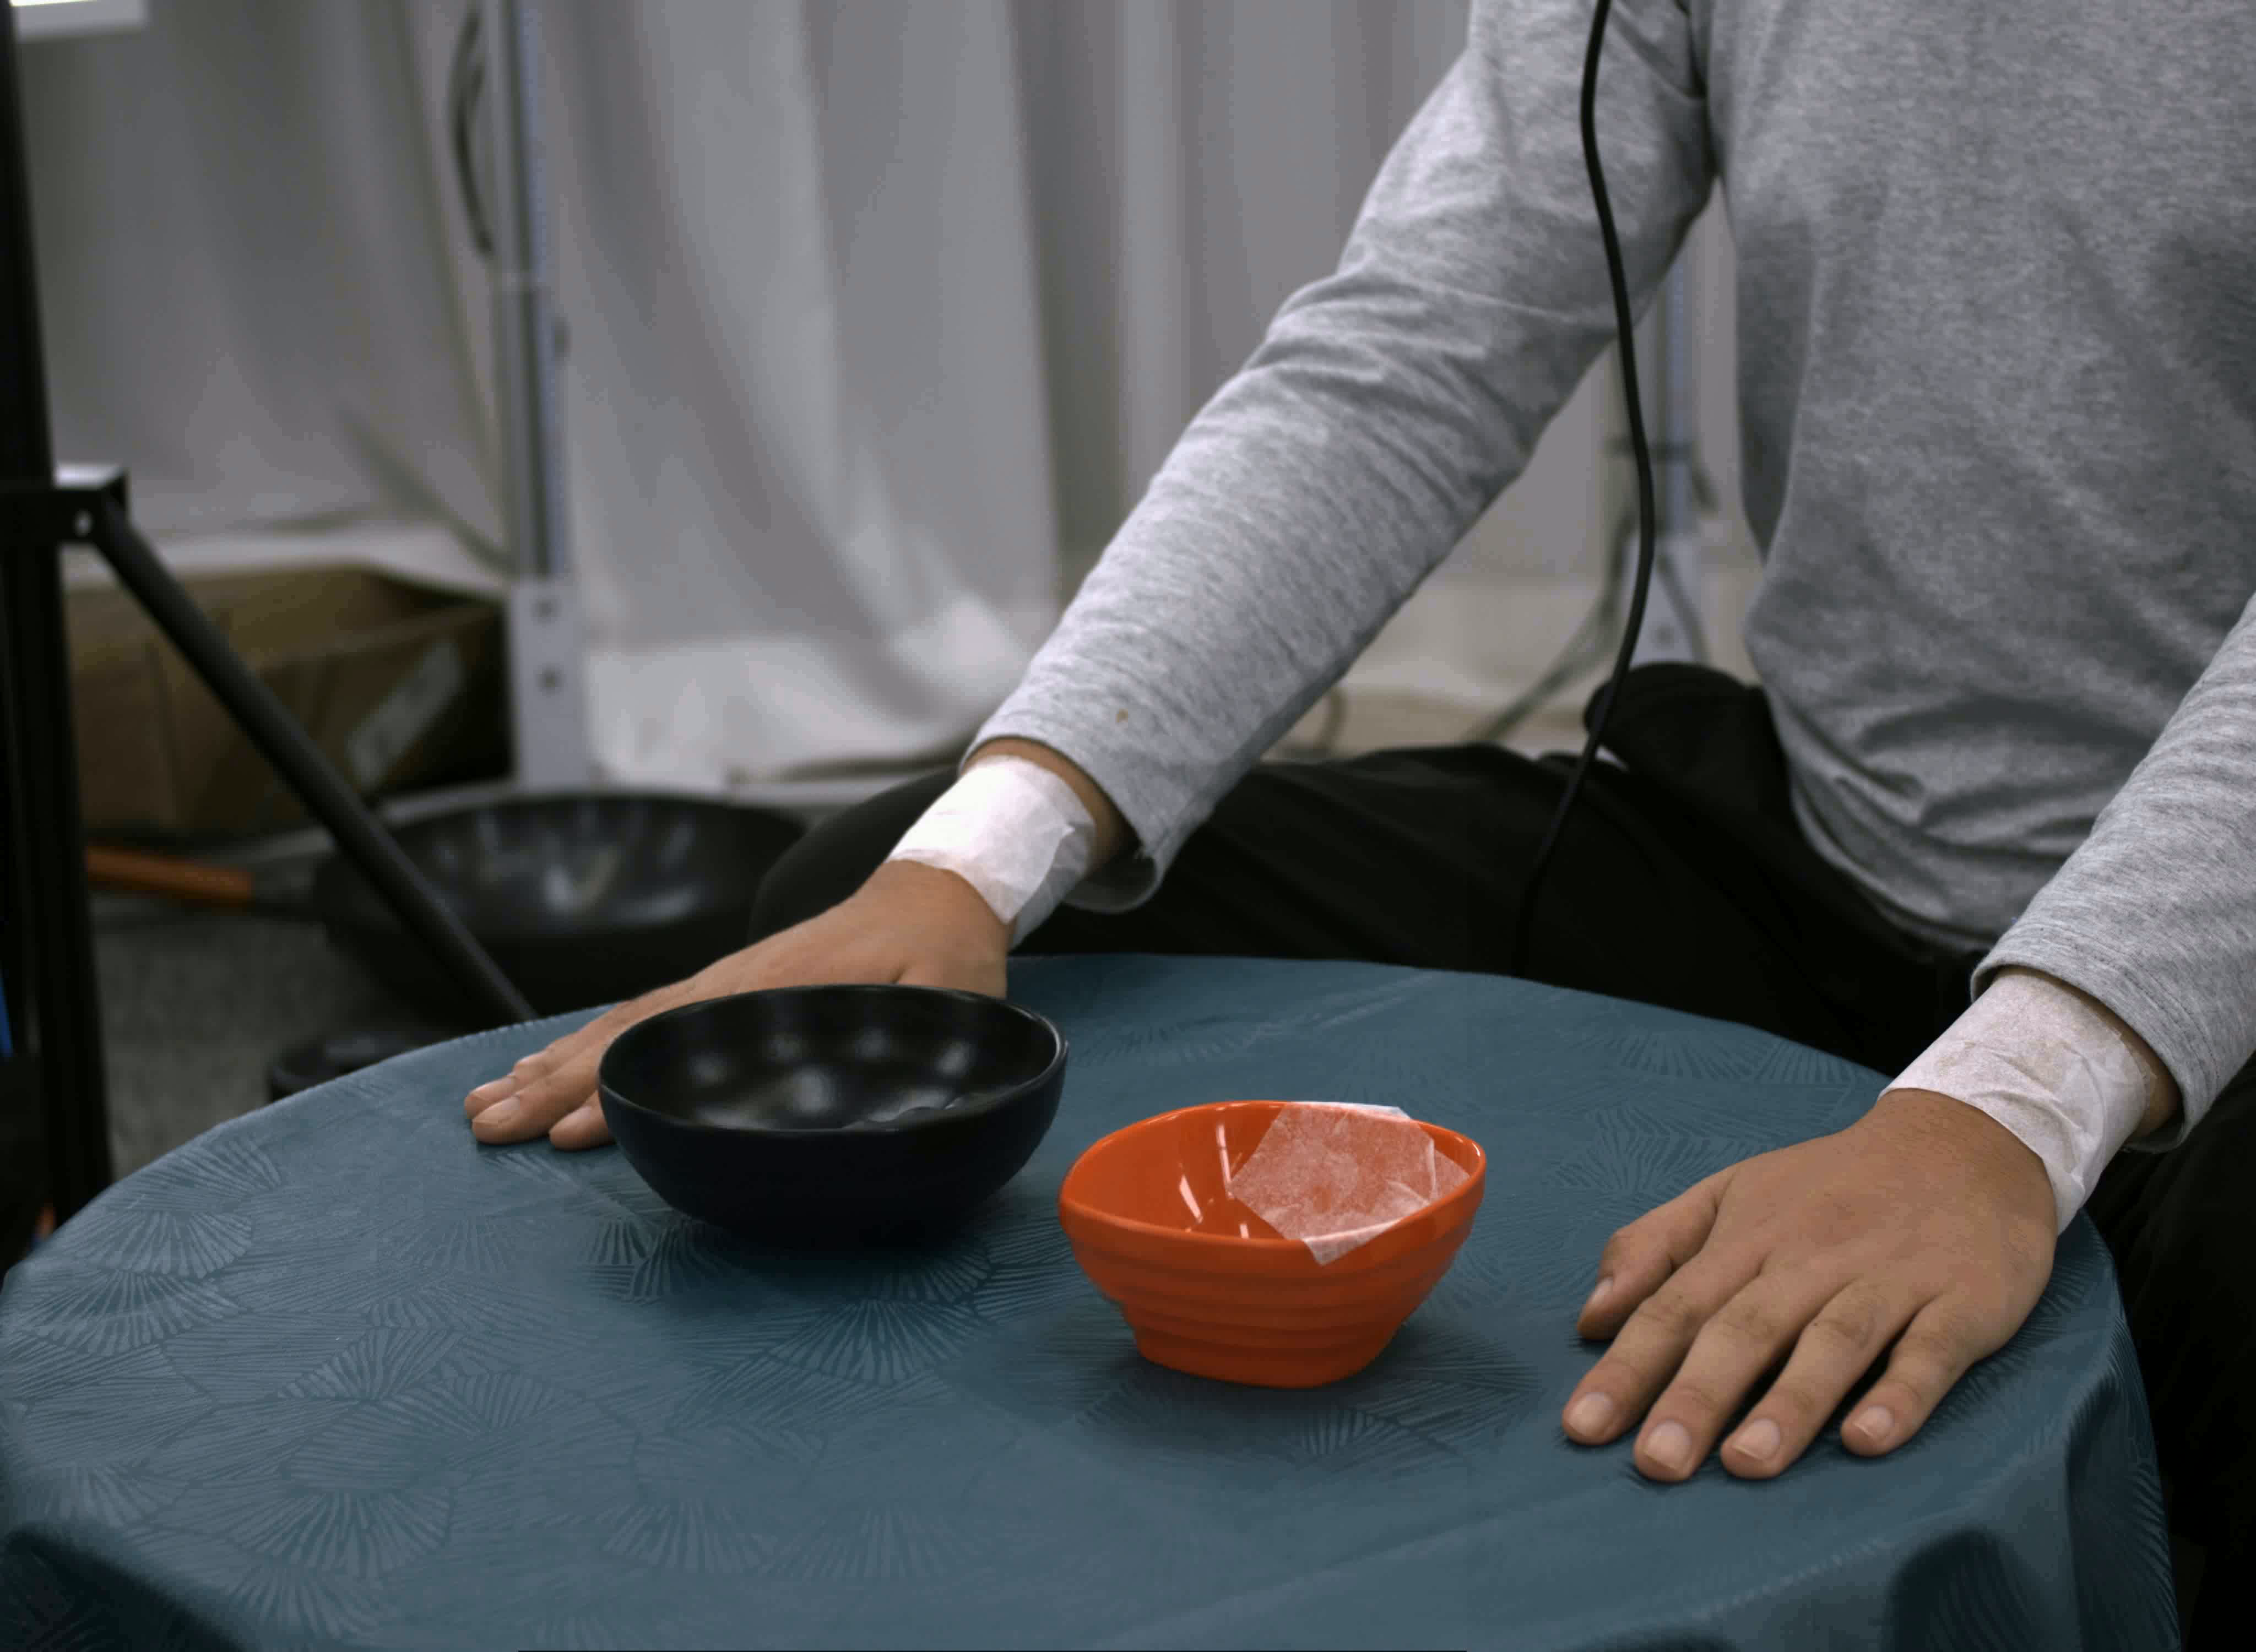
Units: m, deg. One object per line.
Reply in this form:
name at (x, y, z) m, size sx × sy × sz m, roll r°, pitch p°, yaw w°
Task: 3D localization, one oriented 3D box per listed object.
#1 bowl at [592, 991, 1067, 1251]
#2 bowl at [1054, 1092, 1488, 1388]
bowl at (-0.086, 0.090, 1.554) m, size 0.139 × 0.050 × 0.140 m, roll -1°, pitch 14°, yaw -1°
bowl at (0.041, 0.115, 1.435) m, size 0.118 × 0.051 × 0.119 m, roll -4°, pitch 16°, yaw 0°
